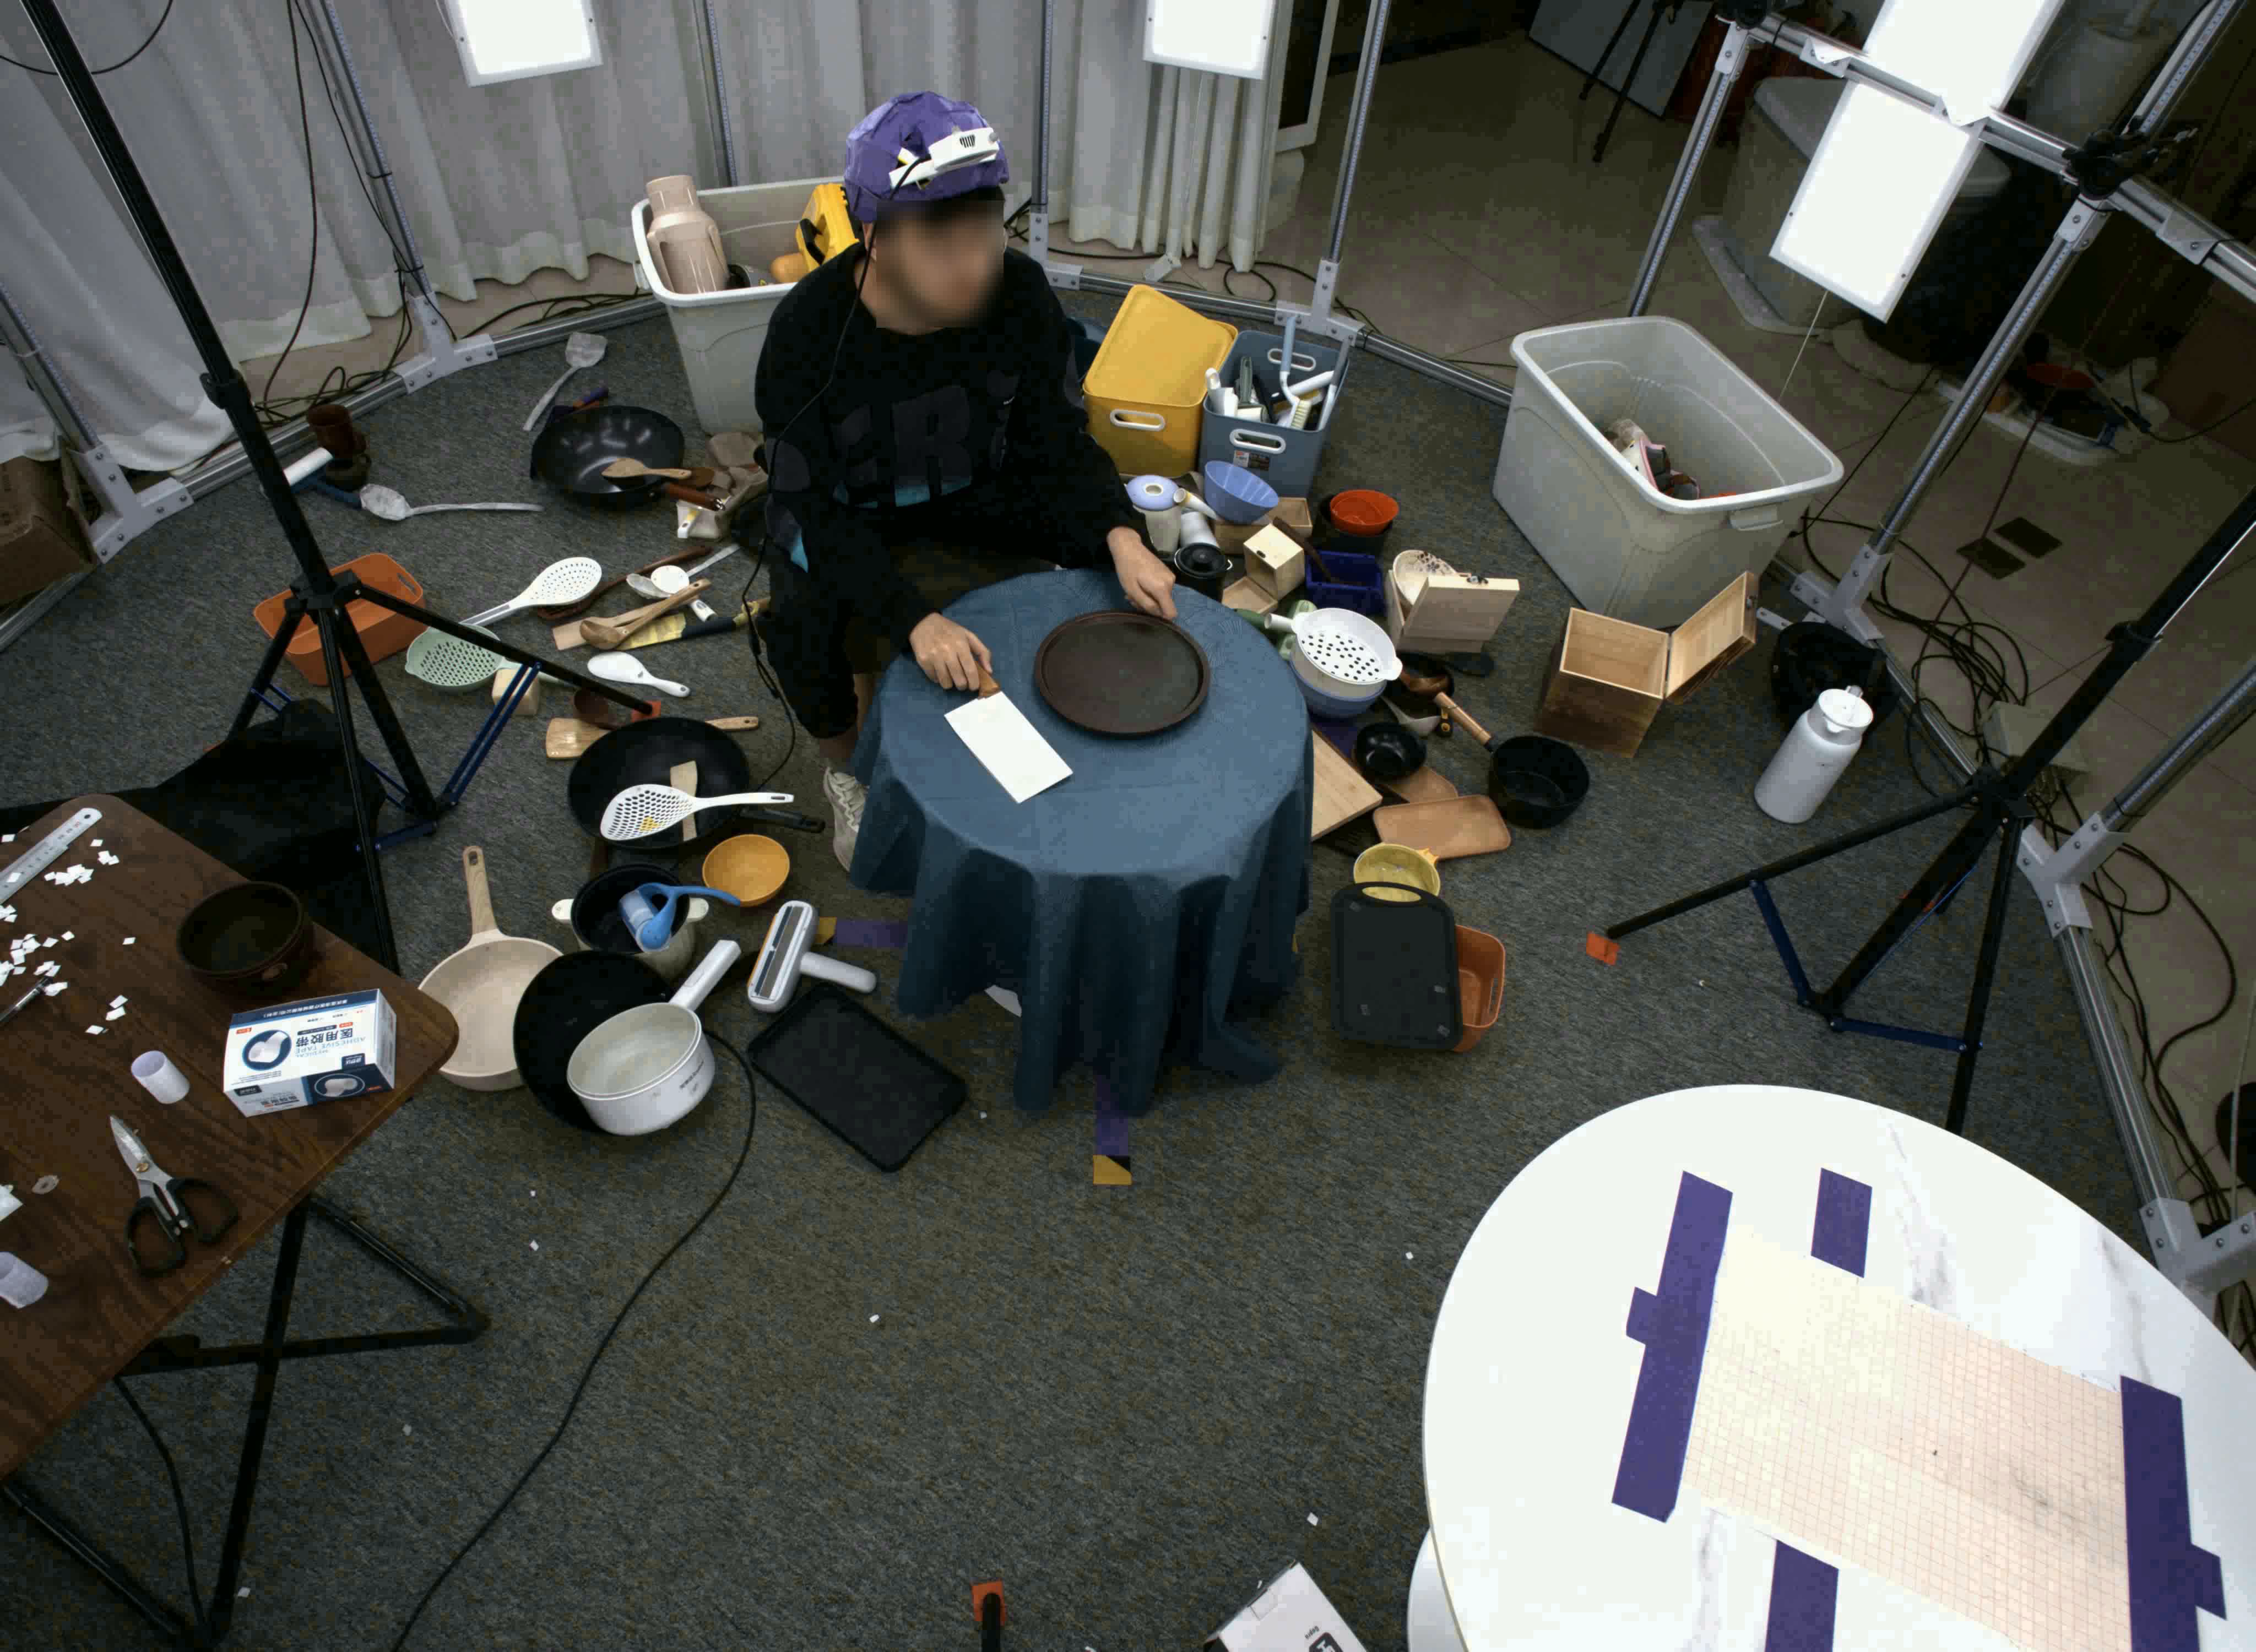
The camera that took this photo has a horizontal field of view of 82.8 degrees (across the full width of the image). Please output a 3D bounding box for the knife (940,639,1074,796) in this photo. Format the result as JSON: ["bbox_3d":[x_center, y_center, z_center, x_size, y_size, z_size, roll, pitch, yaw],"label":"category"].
[{"bbox_3d":[-0.192,-0.151,1.778,0.093,0.020,0.311,-30,58,-19],"label":"knife"}]

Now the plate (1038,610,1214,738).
[{"bbox_3d":[-0.003,-0.220,1.843,0.254,0.028,0.261,3,49,-3],"label":"plate"}]
